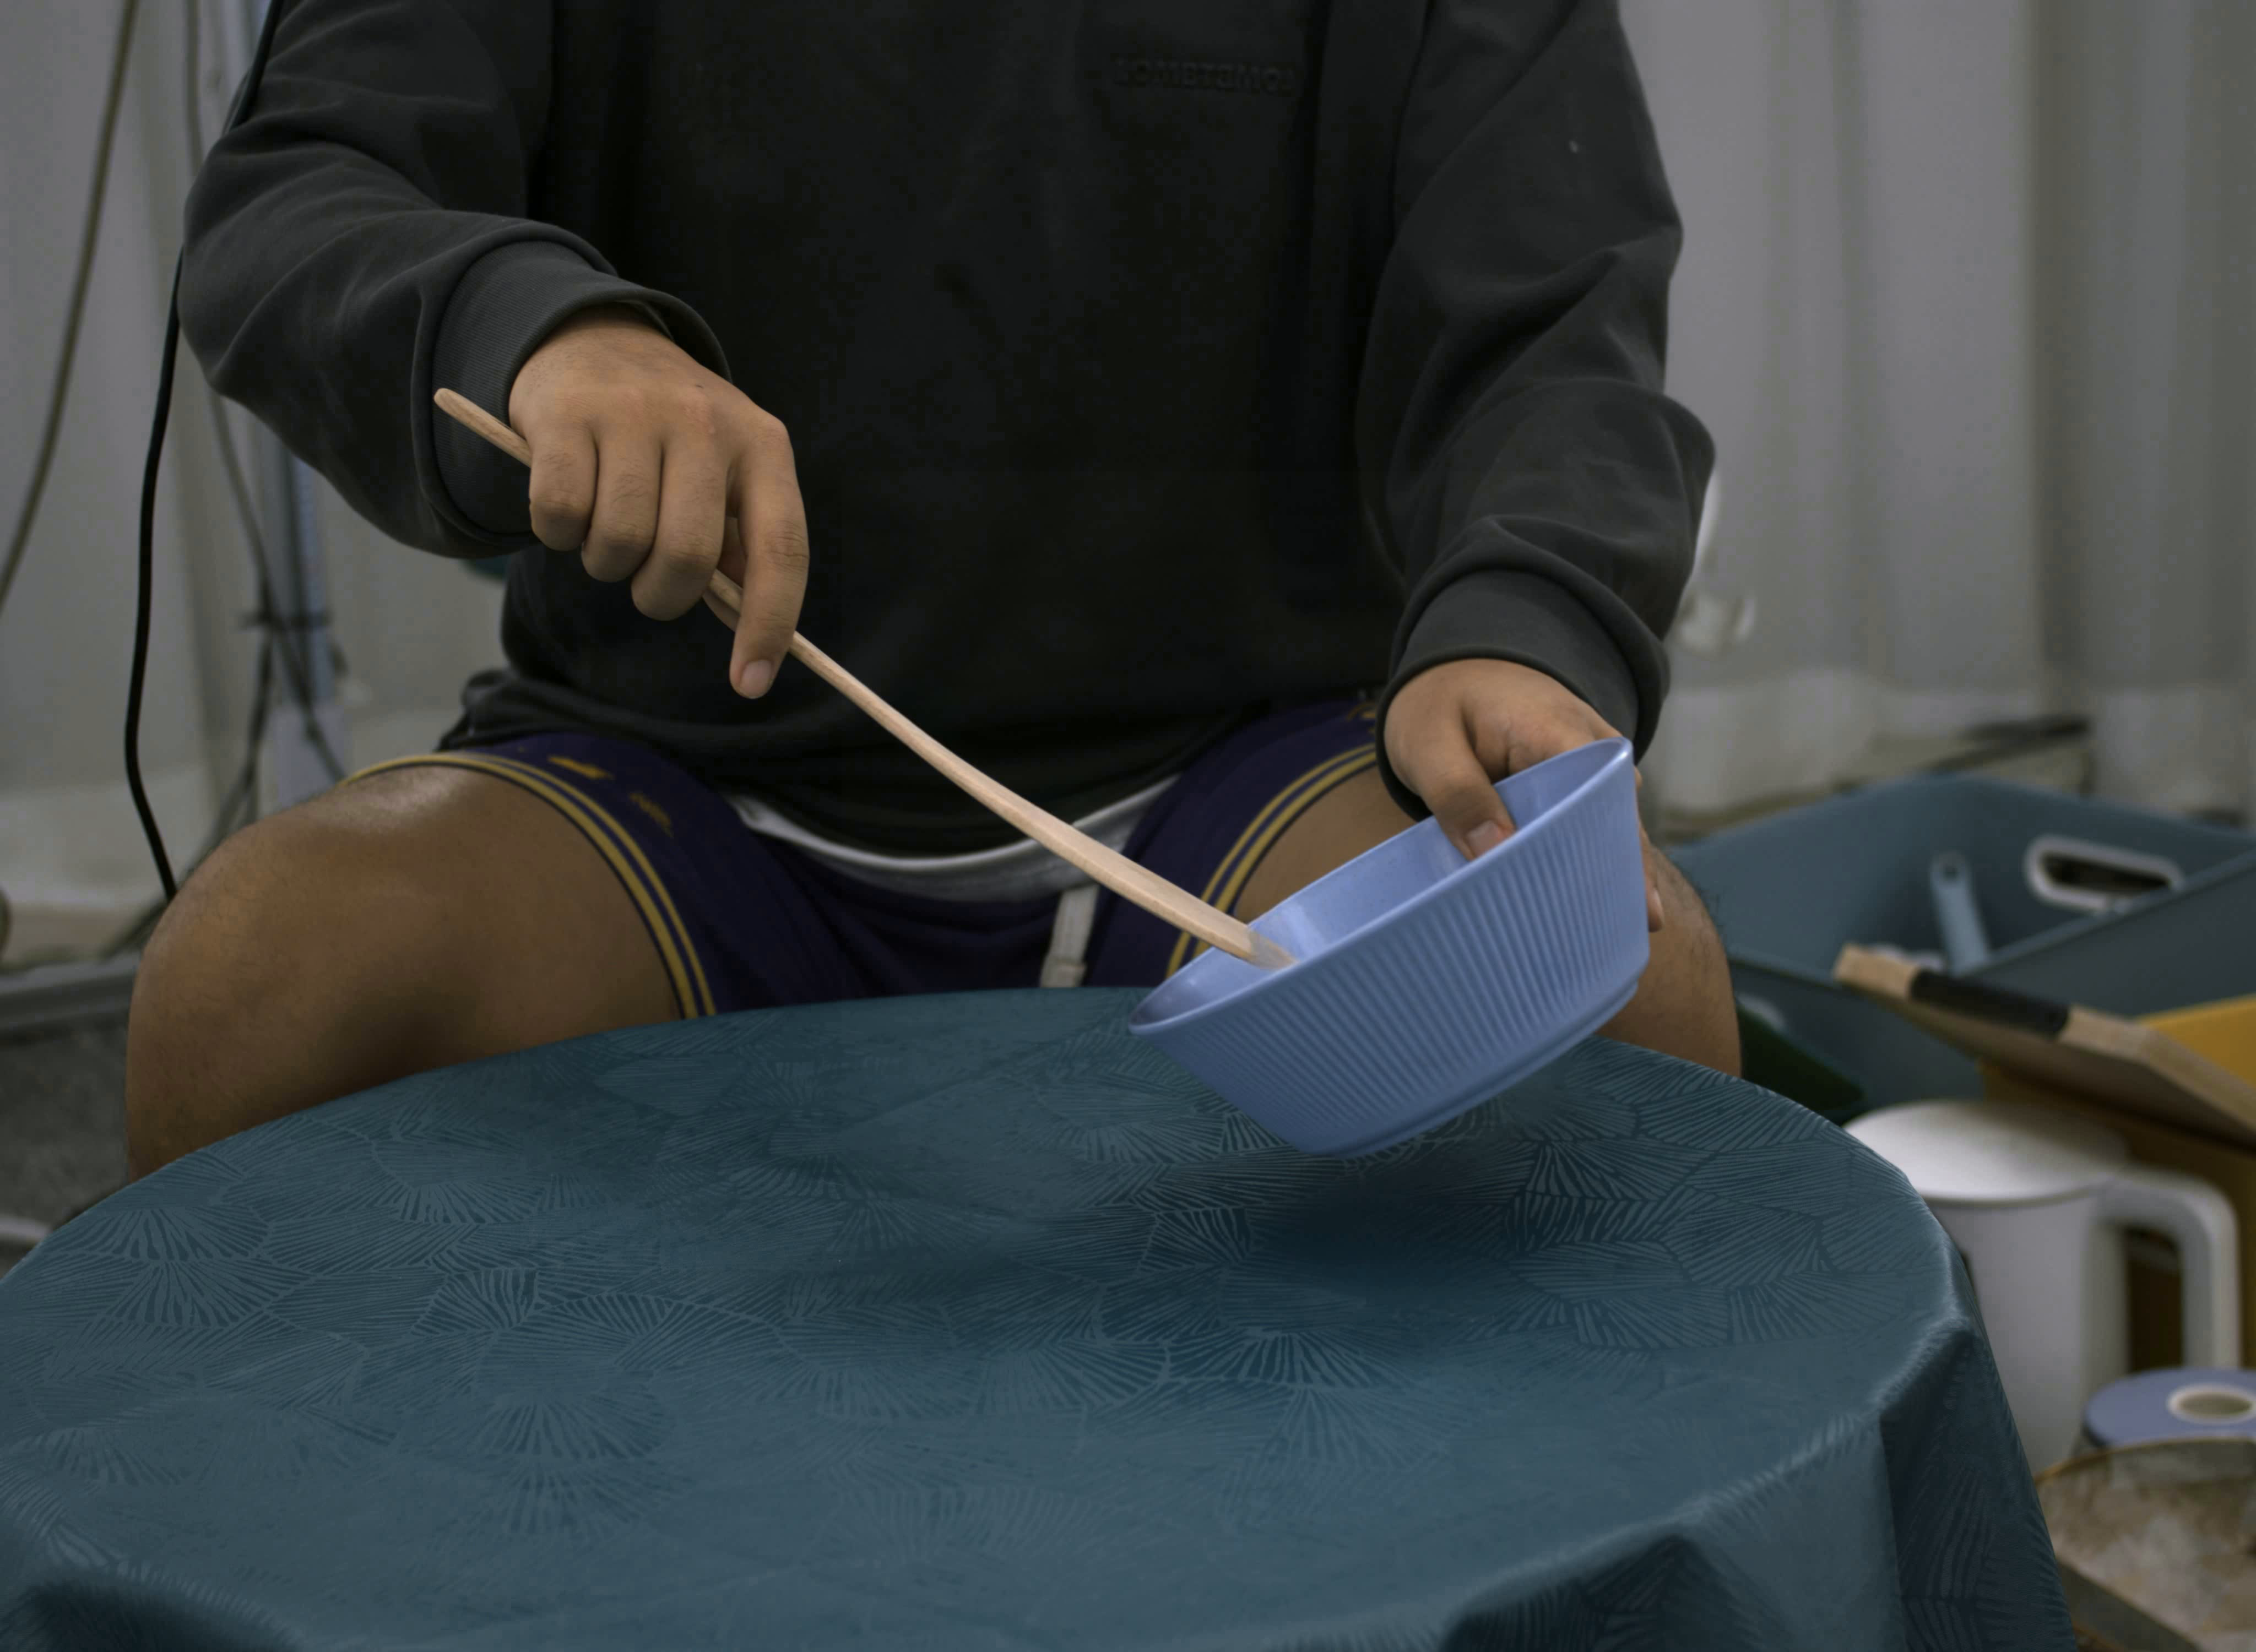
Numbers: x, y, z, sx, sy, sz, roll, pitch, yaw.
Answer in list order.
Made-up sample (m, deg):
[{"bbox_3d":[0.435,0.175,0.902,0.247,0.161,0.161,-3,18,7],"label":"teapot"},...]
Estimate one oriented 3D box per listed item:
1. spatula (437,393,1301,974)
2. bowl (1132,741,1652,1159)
[{"bbox_3d":[-0.079,-0.042,1.677,0.328,0.016,0.080,35,5,10],"label":"spatula"},{"bbox_3d":[0.093,0.045,1.665,0.176,0.070,0.176,-30,5,2],"label":"bowl"}]
